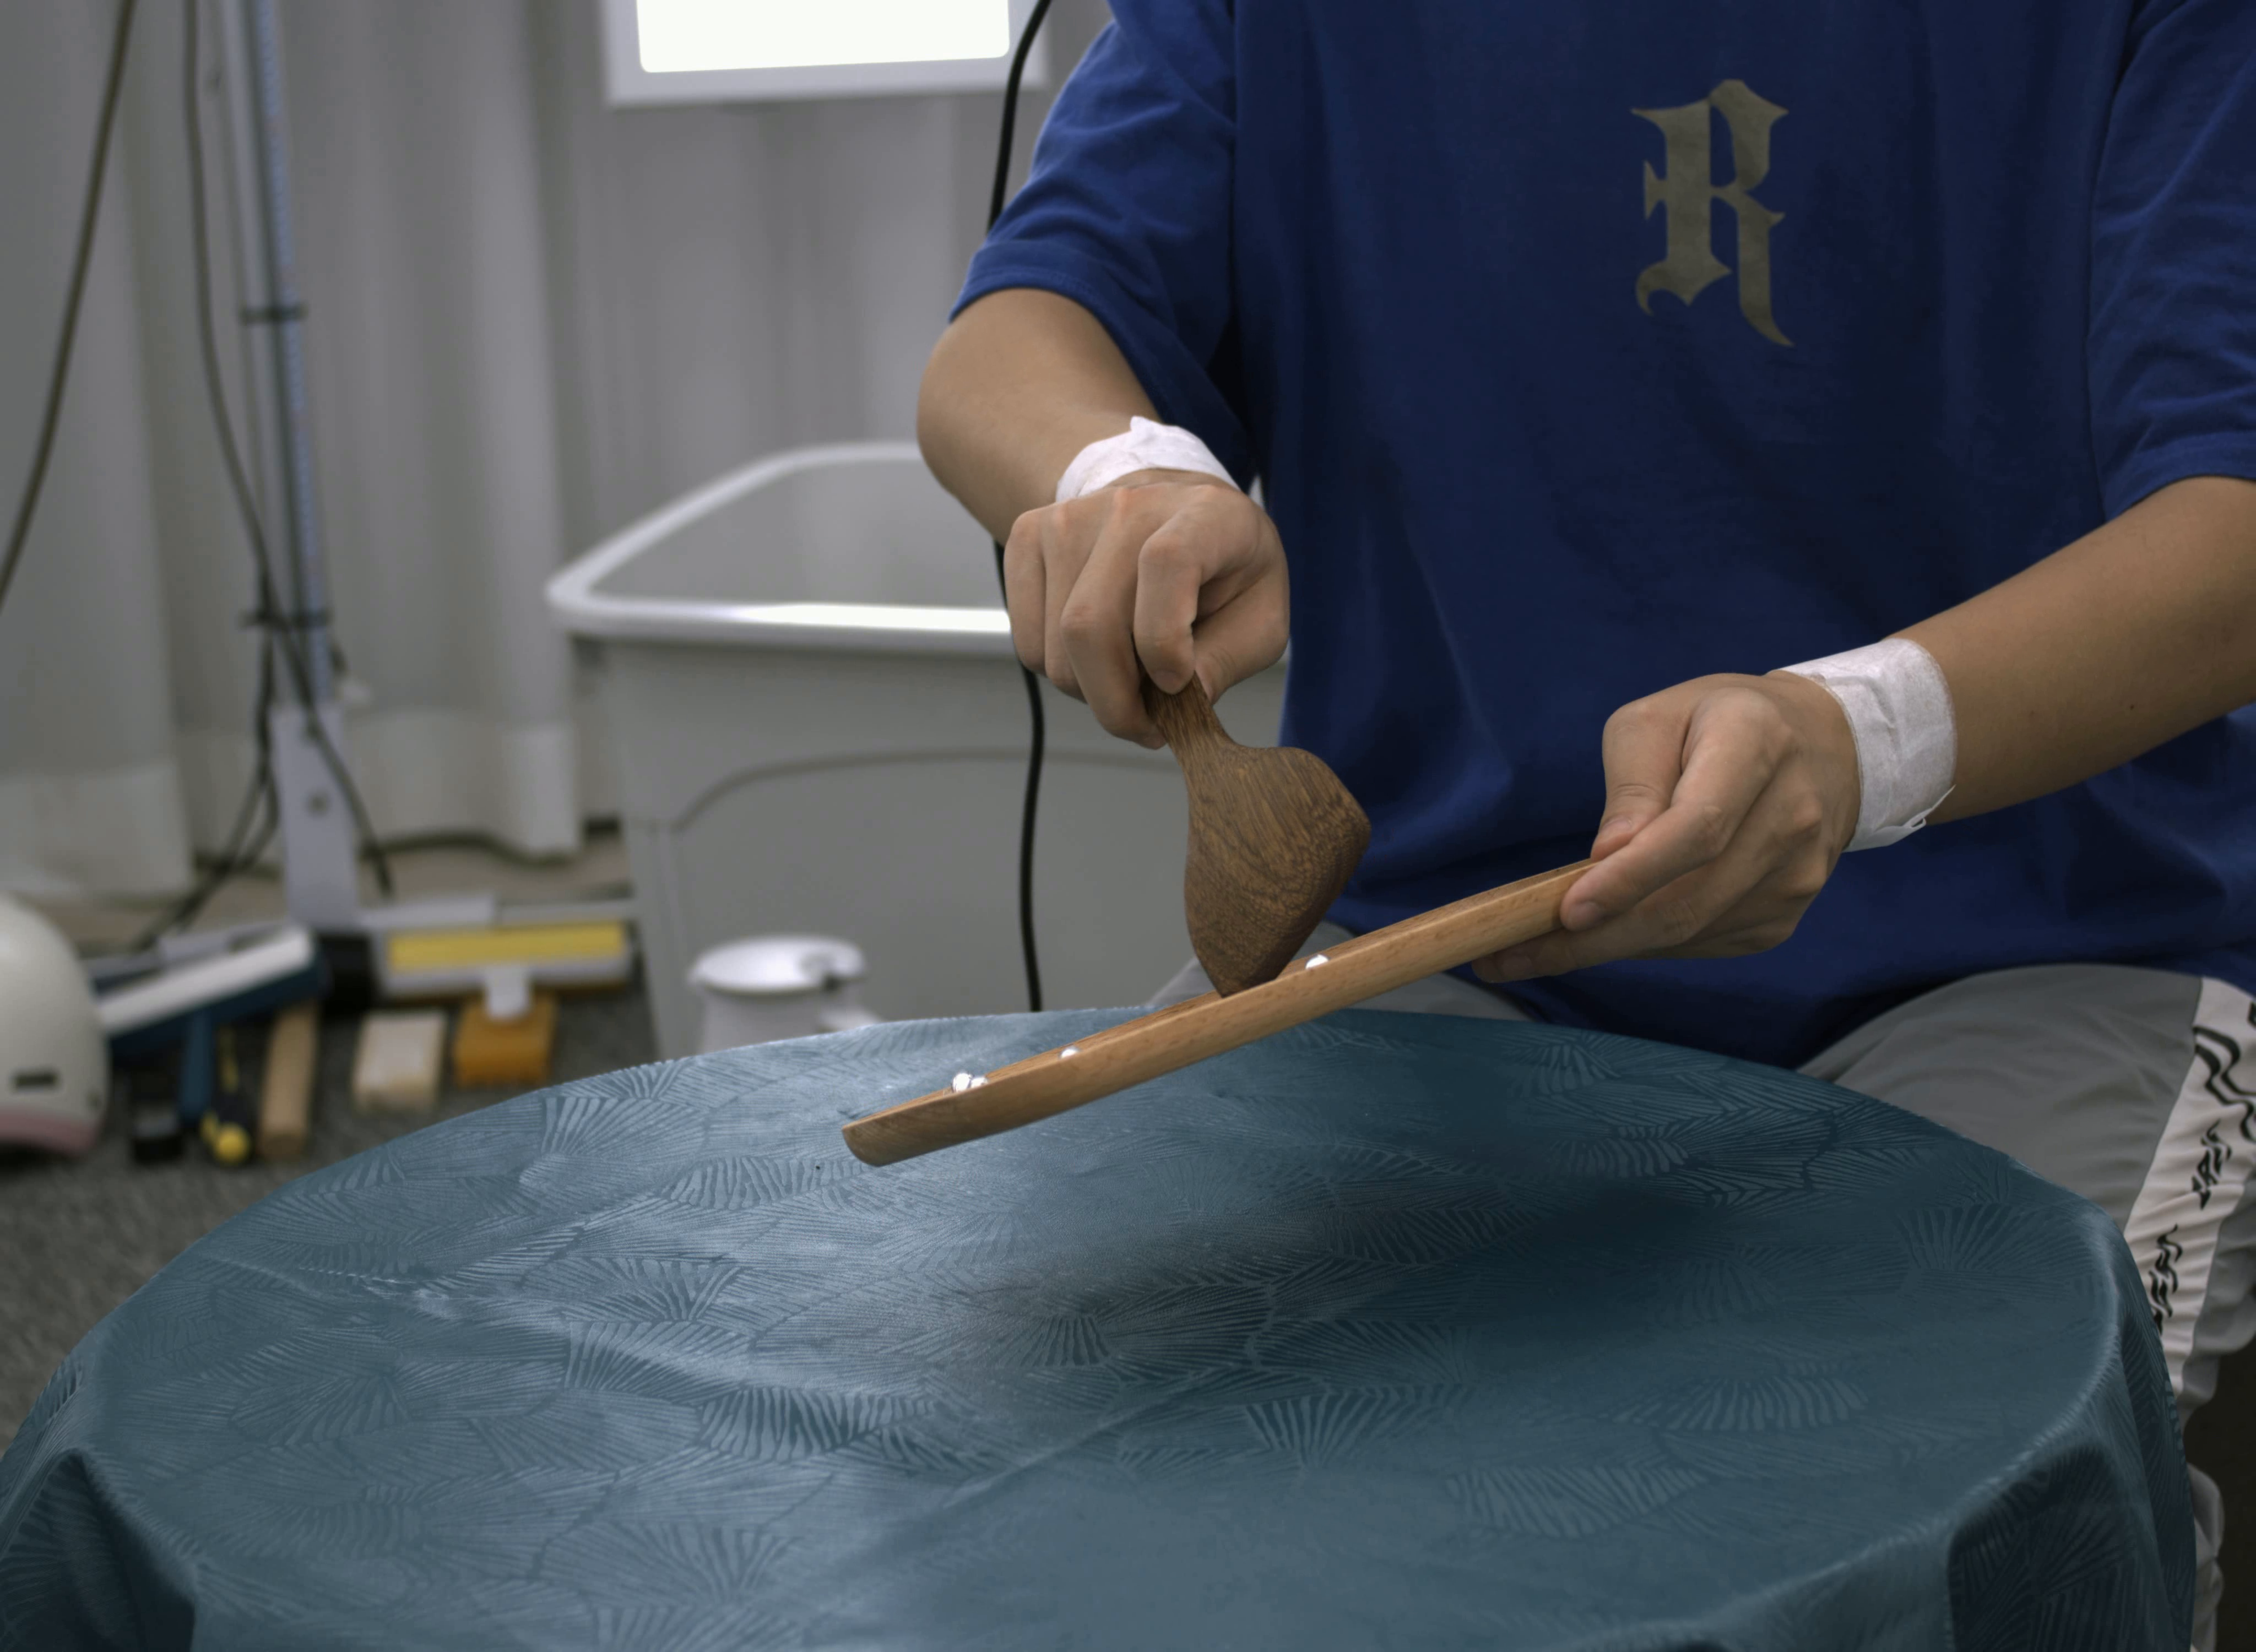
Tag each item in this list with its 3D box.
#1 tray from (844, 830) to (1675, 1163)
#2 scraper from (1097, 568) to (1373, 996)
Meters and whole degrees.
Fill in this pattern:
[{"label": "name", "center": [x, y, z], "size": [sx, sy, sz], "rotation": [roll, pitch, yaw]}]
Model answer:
[{"label": "tray", "center": [0.041, 0.051, 1.615], "size": [0.250, 0.023, 0.130], "rotation": [-18, 1, -29]}, {"label": "scraper", "center": [0.024, -0.024, 1.697], "size": [0.011, 0.075, 0.214], "rotation": [26, 19, -28]}]
